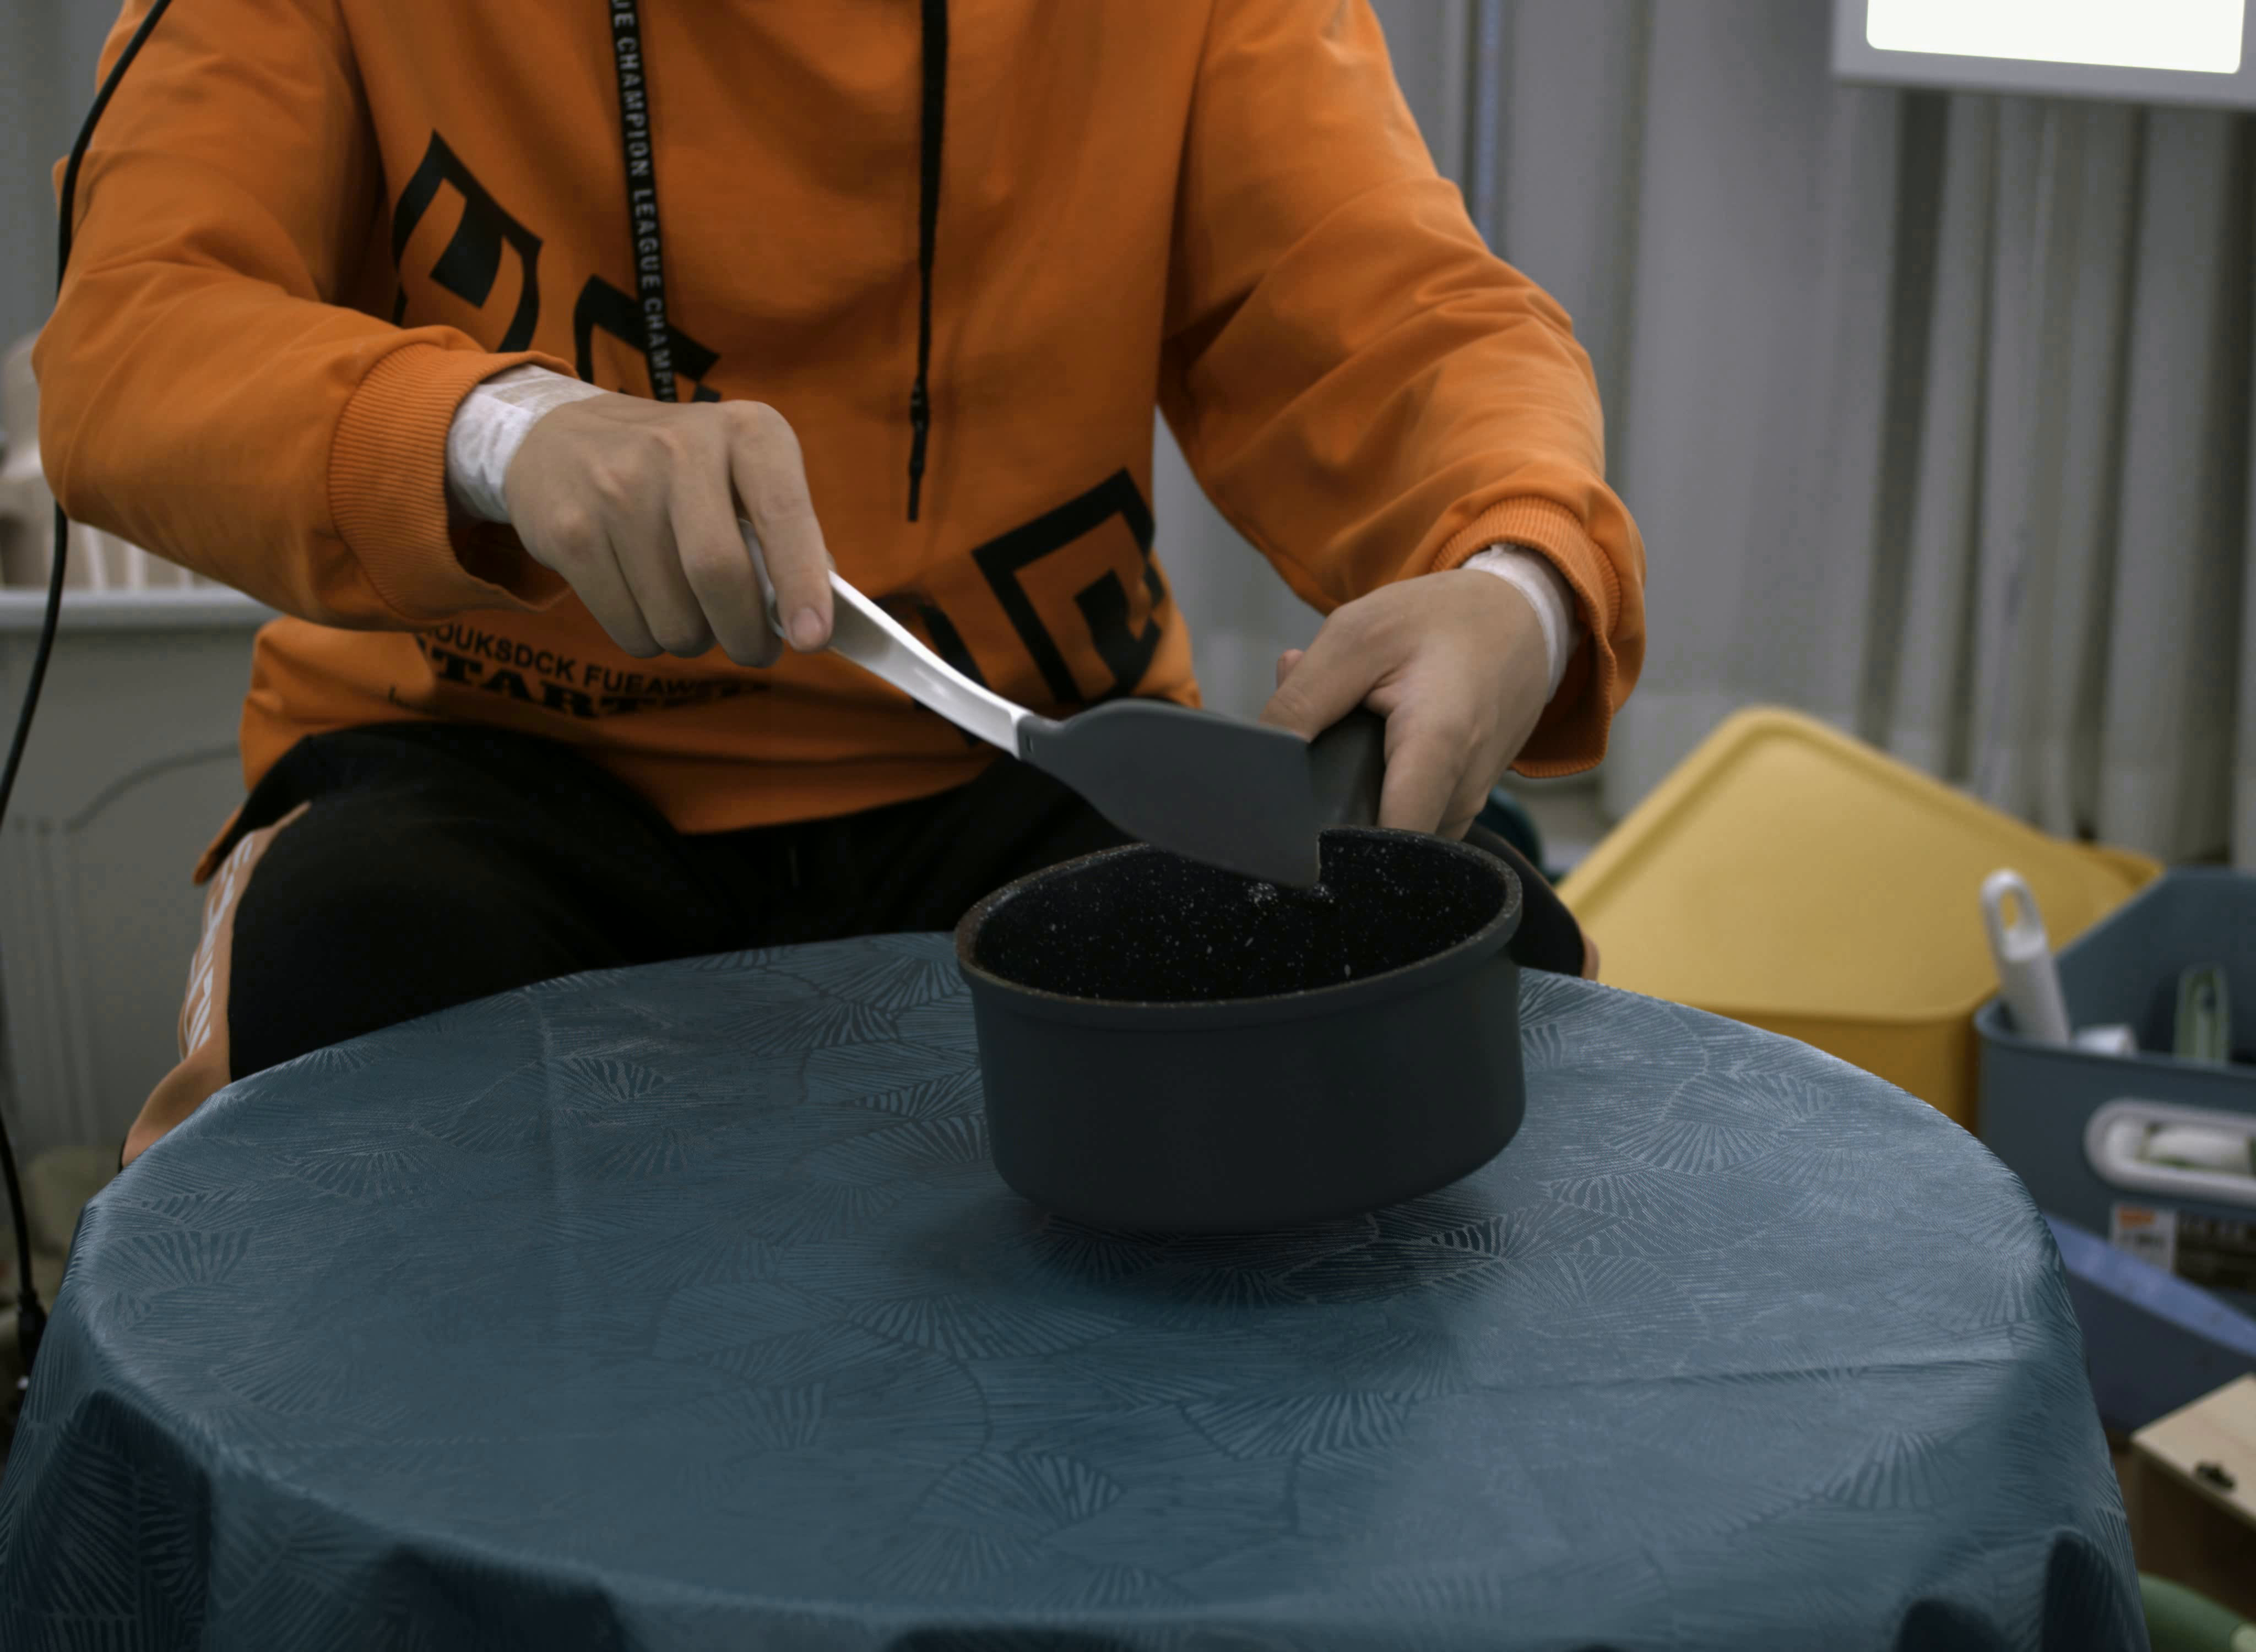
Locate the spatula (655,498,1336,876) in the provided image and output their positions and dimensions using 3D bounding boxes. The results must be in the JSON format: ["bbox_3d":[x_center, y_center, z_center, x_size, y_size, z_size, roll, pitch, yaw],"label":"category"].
[{"bbox_3d":[-0.045,-0.046,1.604,0.032,0.059,0.283,-25,35,-37],"label":"spatula"}]

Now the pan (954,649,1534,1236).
[{"bbox_3d":[0.056,0.033,1.653,0.170,0.087,0.328,0,19,15],"label":"pan"}]
